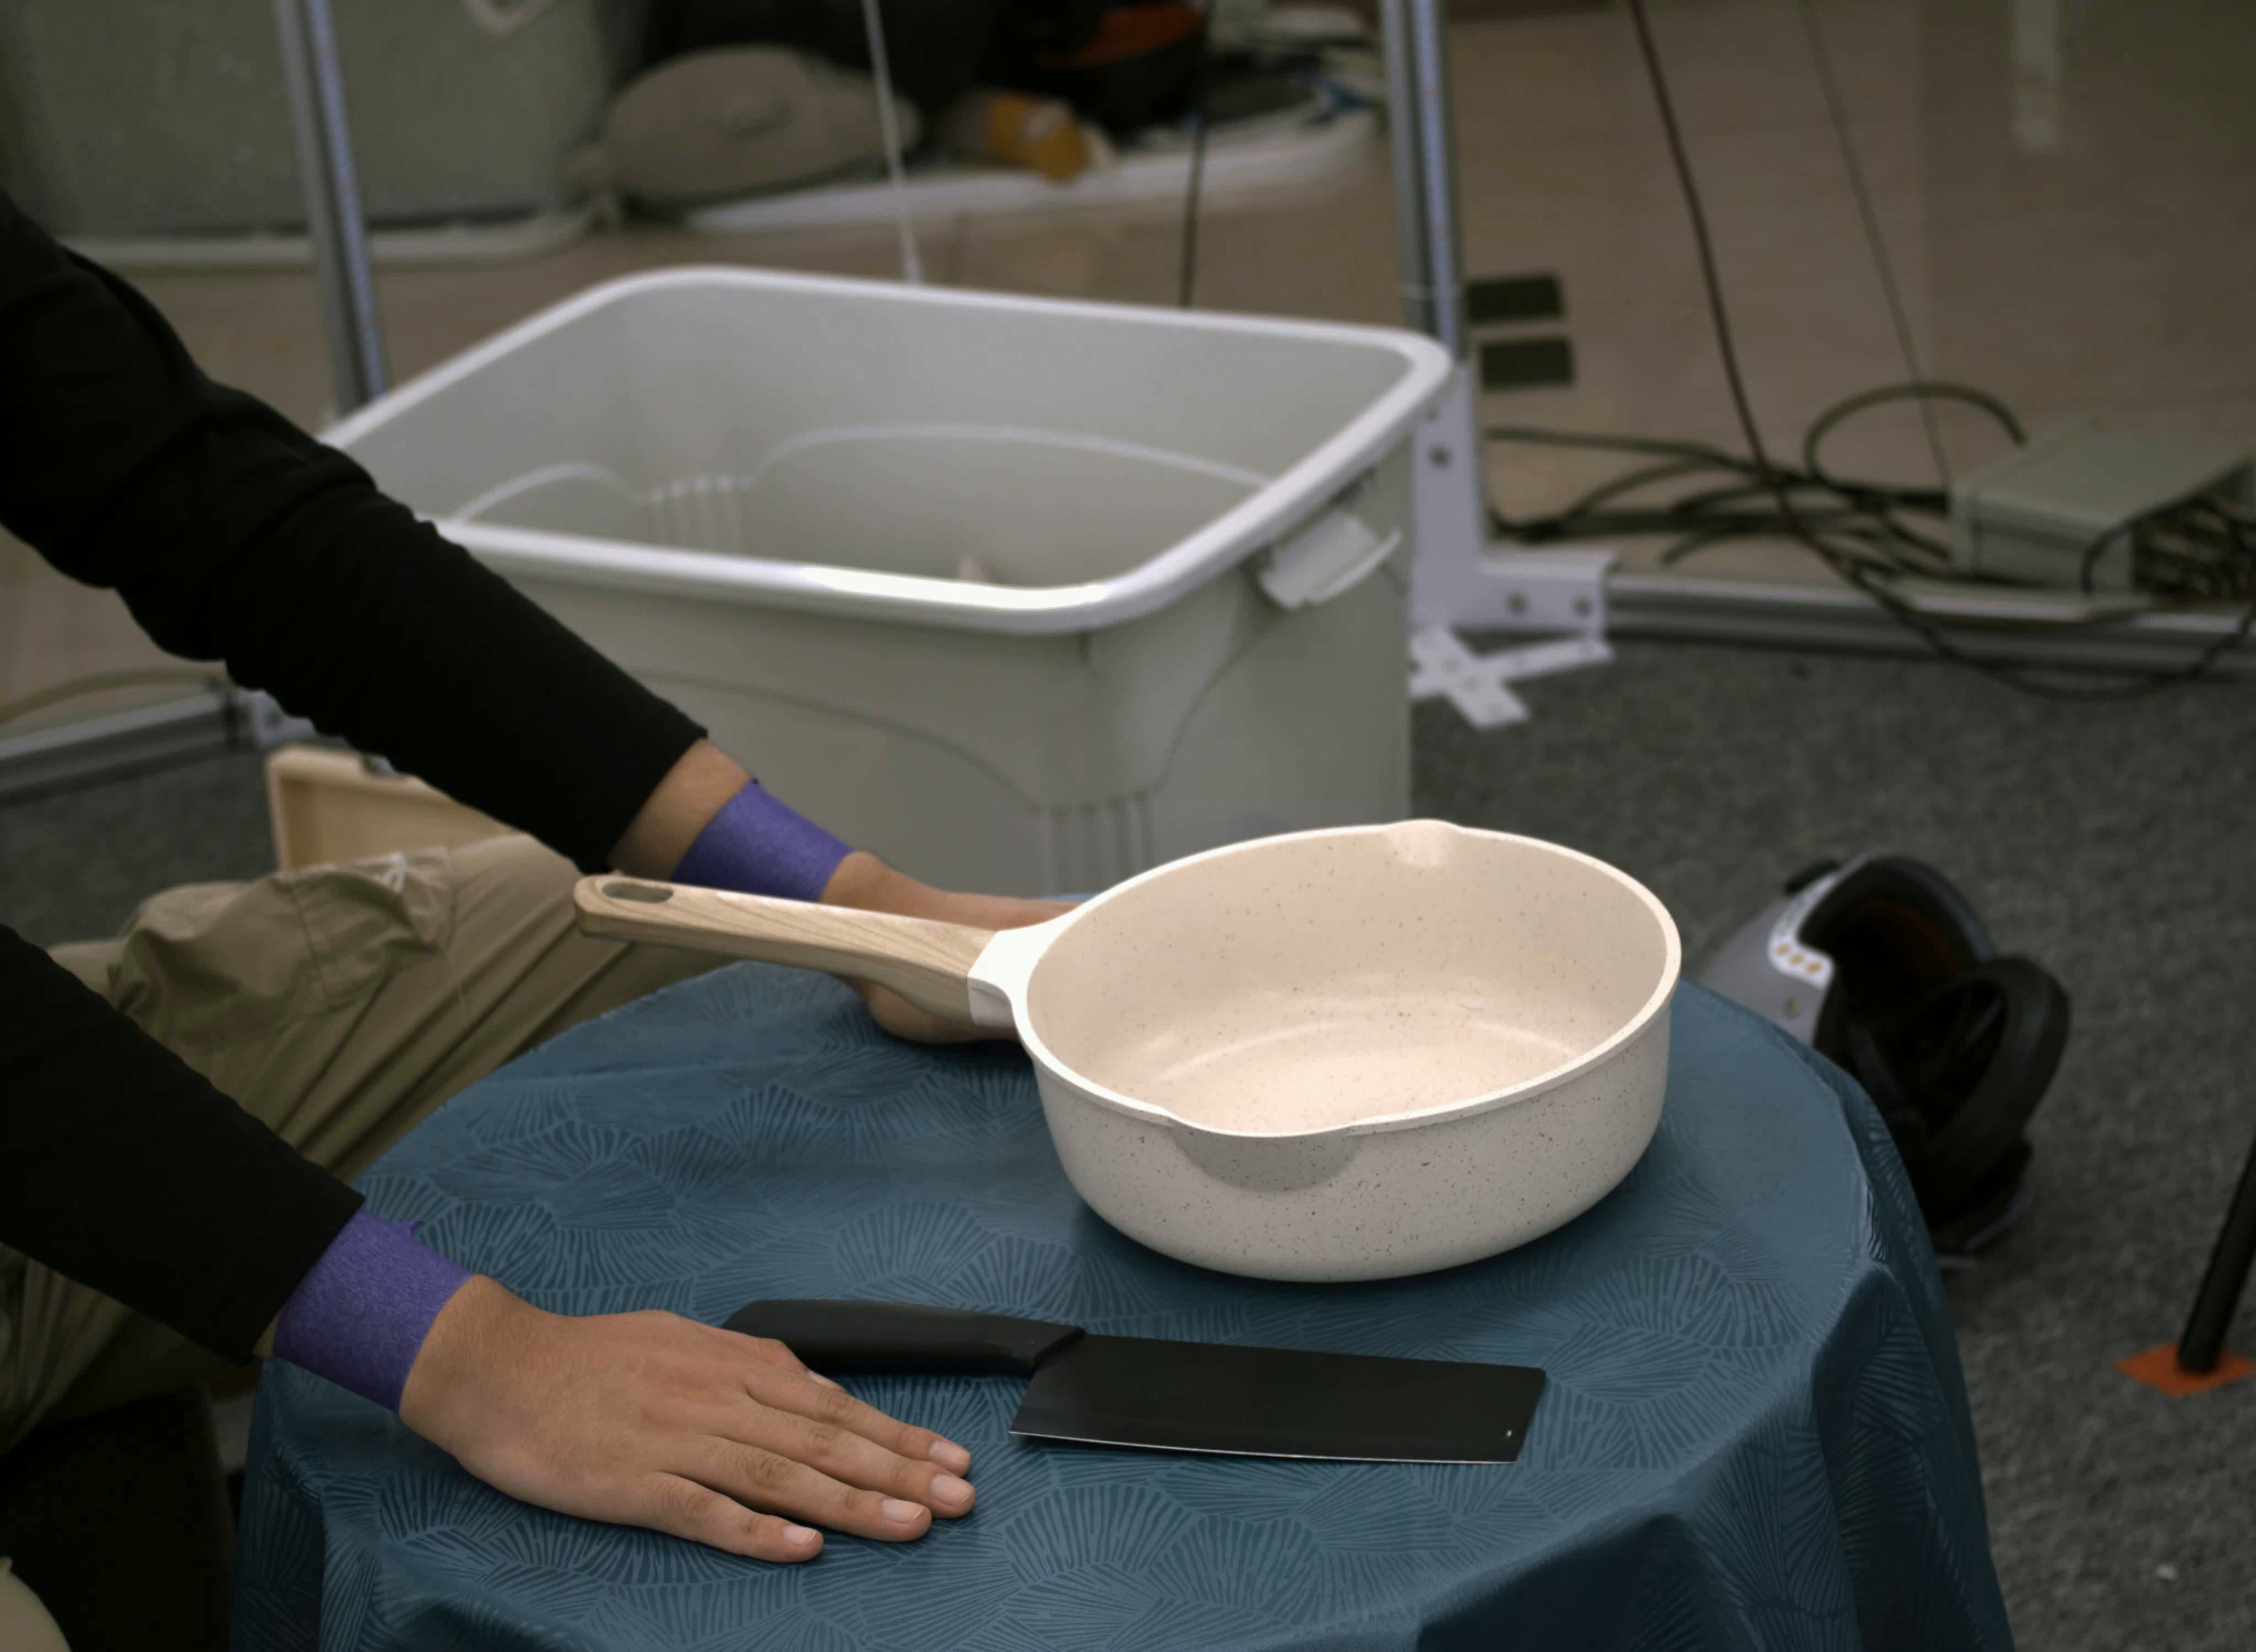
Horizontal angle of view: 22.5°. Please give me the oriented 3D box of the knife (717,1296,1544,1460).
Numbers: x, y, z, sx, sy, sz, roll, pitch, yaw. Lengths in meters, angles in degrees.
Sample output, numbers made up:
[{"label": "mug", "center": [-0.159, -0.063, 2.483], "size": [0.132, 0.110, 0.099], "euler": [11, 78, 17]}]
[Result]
[{"label": "knife", "center": [-0.003, 0.196, 2.012], "size": [0.301, 0.021, 0.080], "euler": [5, 28, 19]}]

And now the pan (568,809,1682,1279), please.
[{"label": "pan", "center": [-0.003, 0.078, 2.164], "size": [0.434, 0.103, 0.259], "euler": [2, 28, 17]}]
